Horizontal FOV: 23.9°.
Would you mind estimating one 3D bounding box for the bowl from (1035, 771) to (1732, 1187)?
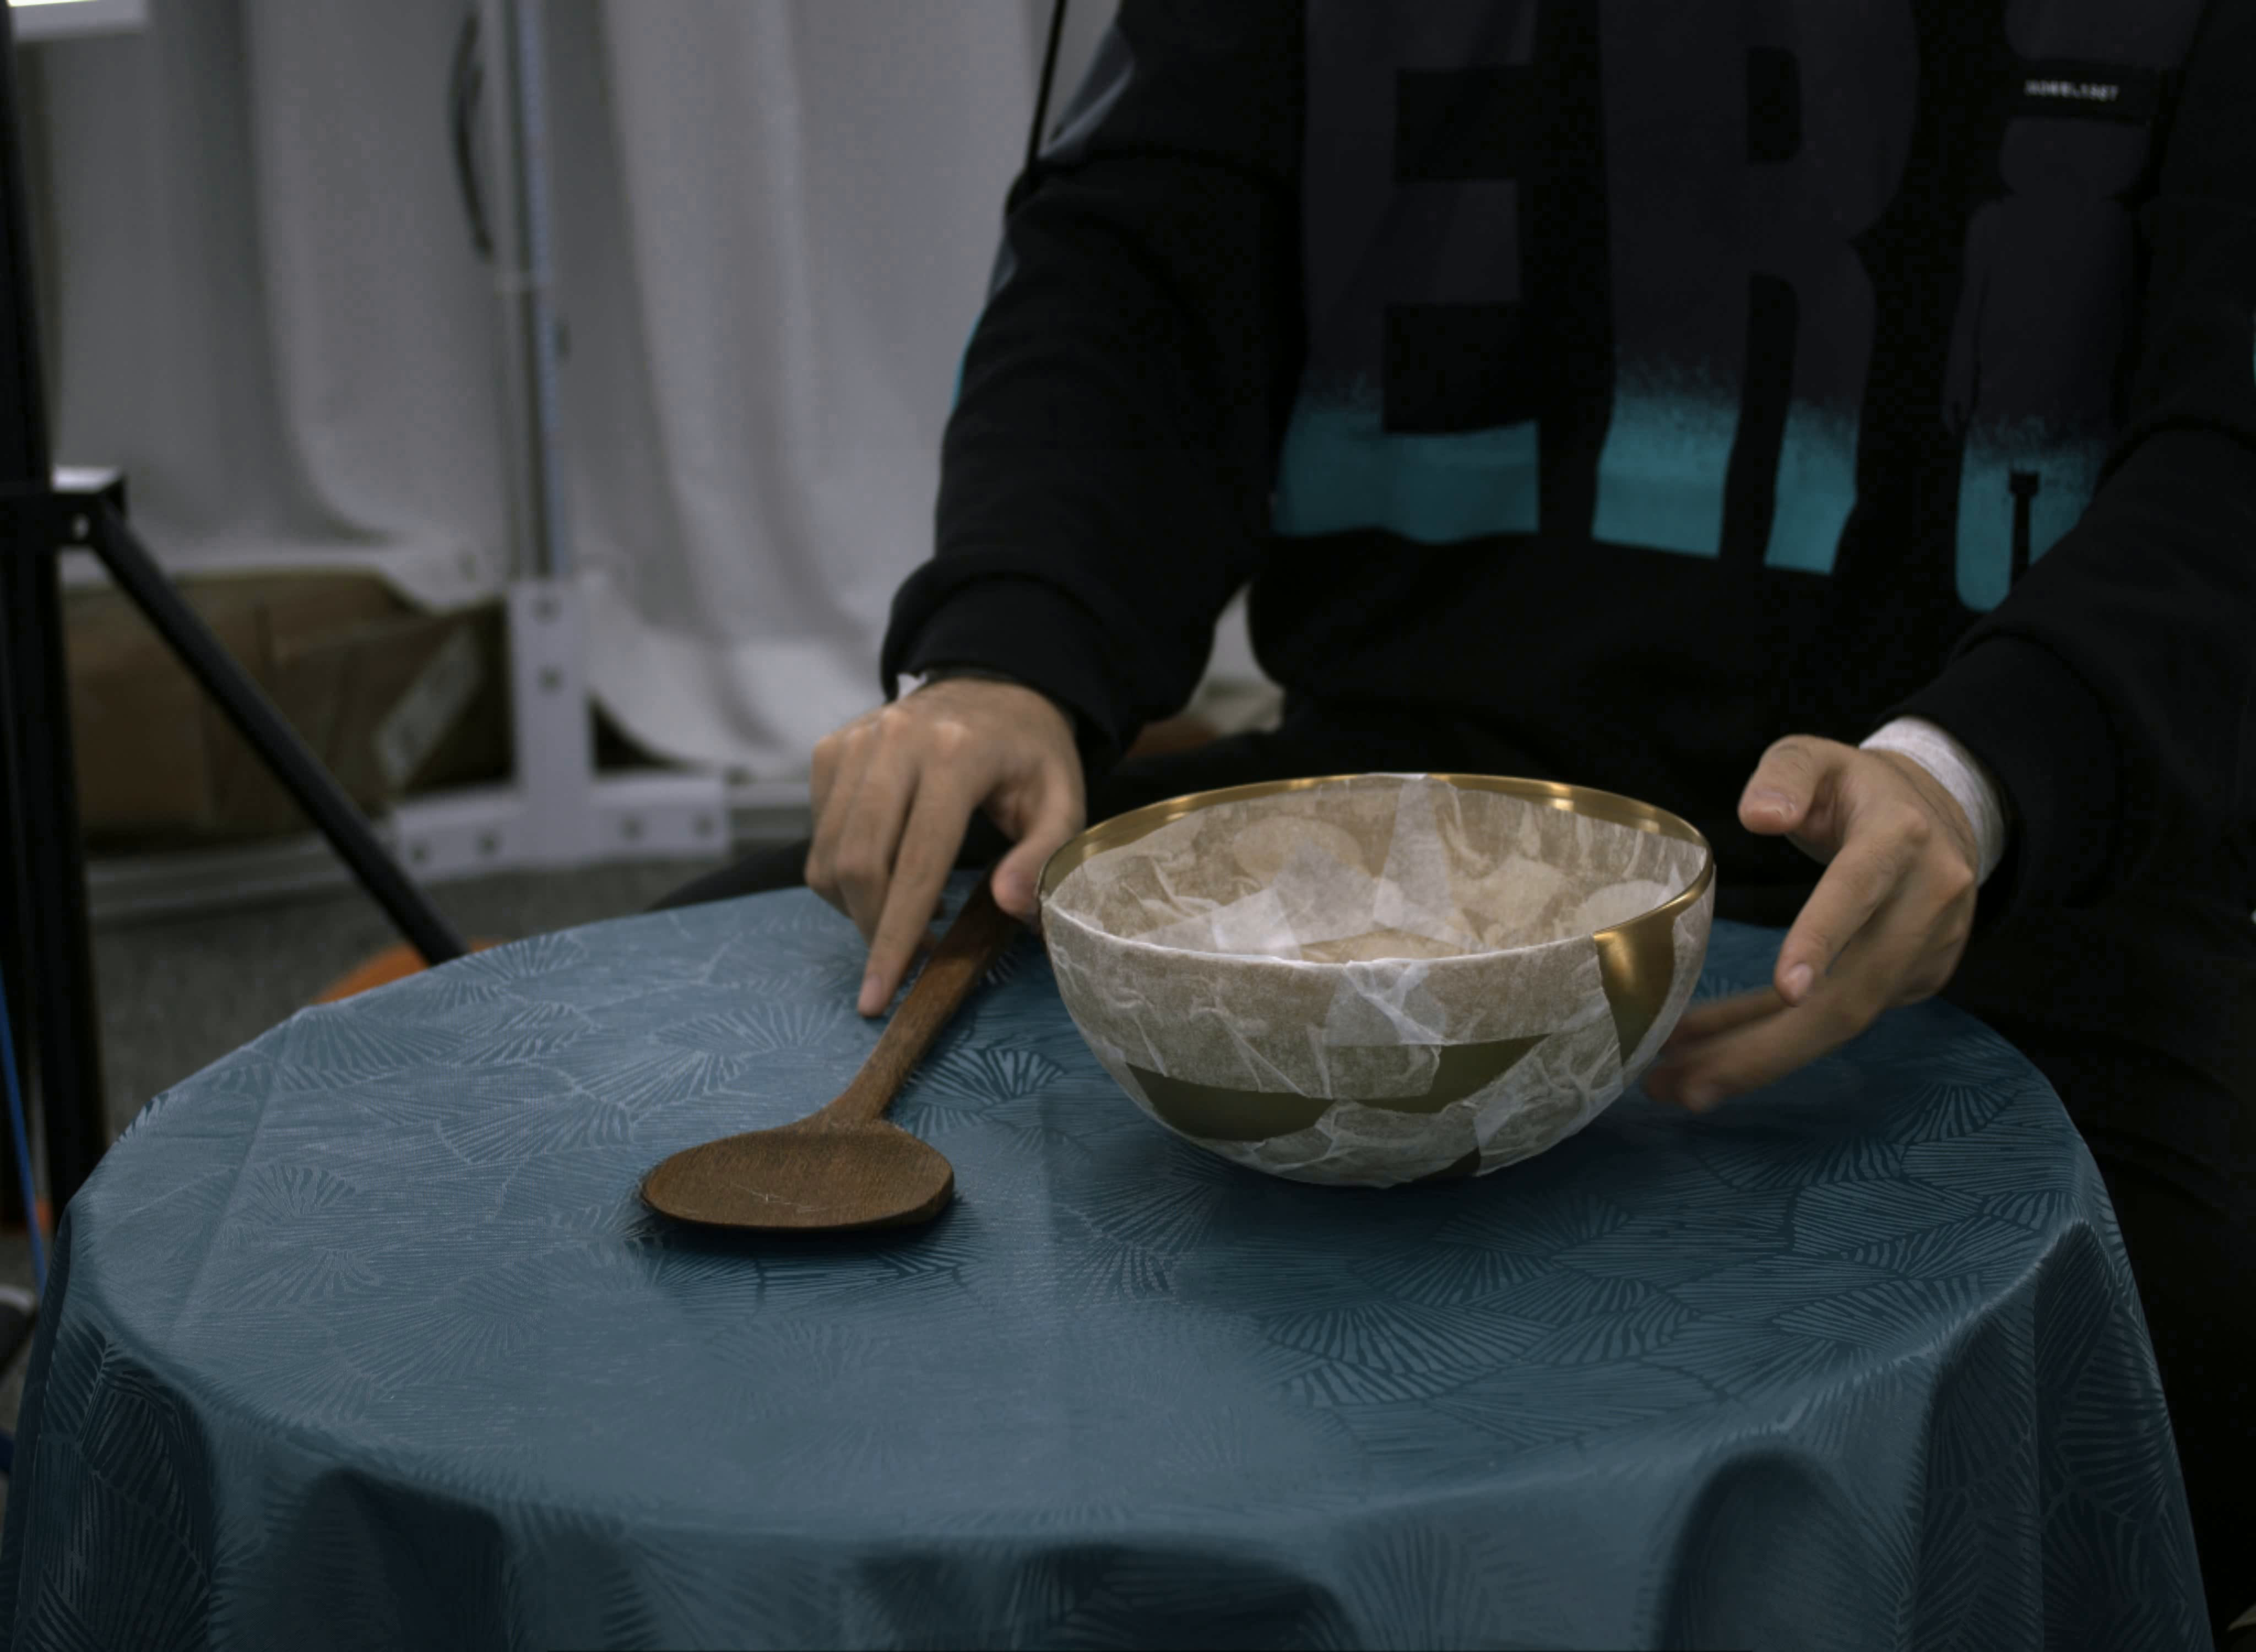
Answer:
[{"bbox_3d":[0.077,0.053,1.571,0.213,0.094,0.216,-3,14,-1],"label":"bowl"}]

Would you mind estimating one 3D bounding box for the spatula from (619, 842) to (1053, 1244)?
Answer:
[{"bbox_3d":[-0.067,0.063,1.696,0.096,0.016,0.384,1,17,12],"label":"spatula"}]
